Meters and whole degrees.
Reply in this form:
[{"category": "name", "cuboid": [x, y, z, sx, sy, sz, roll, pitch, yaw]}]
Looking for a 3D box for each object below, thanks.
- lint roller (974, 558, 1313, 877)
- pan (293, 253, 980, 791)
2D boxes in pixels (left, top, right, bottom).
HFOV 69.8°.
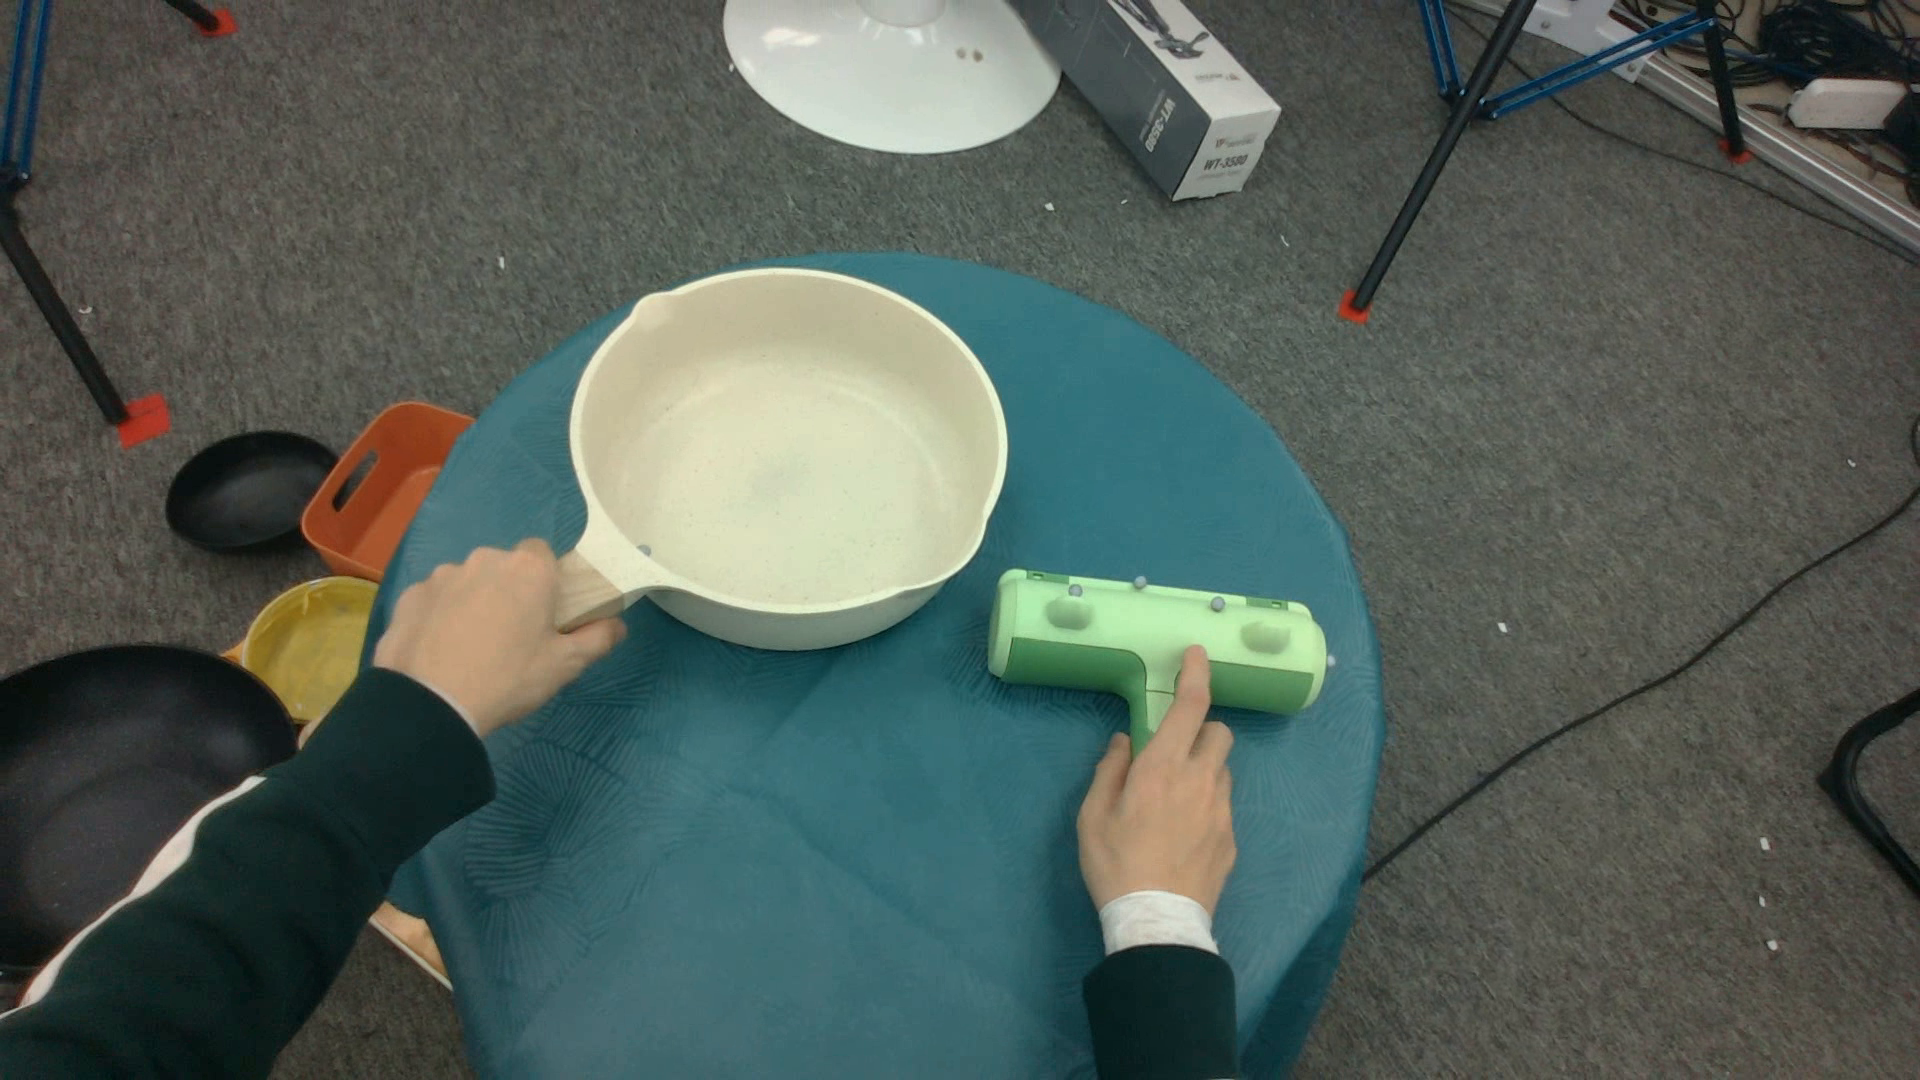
[{"category": "lint roller", "cuboid": [0.108, 0.090, 0.773, 0.199, 0.082, 0.184, 6, 47, -6]}, {"category": "pan", "cuboid": [-0.175, -0.001, 0.778, 0.263, 0.101, 0.437, 39, 59, 14]}]
